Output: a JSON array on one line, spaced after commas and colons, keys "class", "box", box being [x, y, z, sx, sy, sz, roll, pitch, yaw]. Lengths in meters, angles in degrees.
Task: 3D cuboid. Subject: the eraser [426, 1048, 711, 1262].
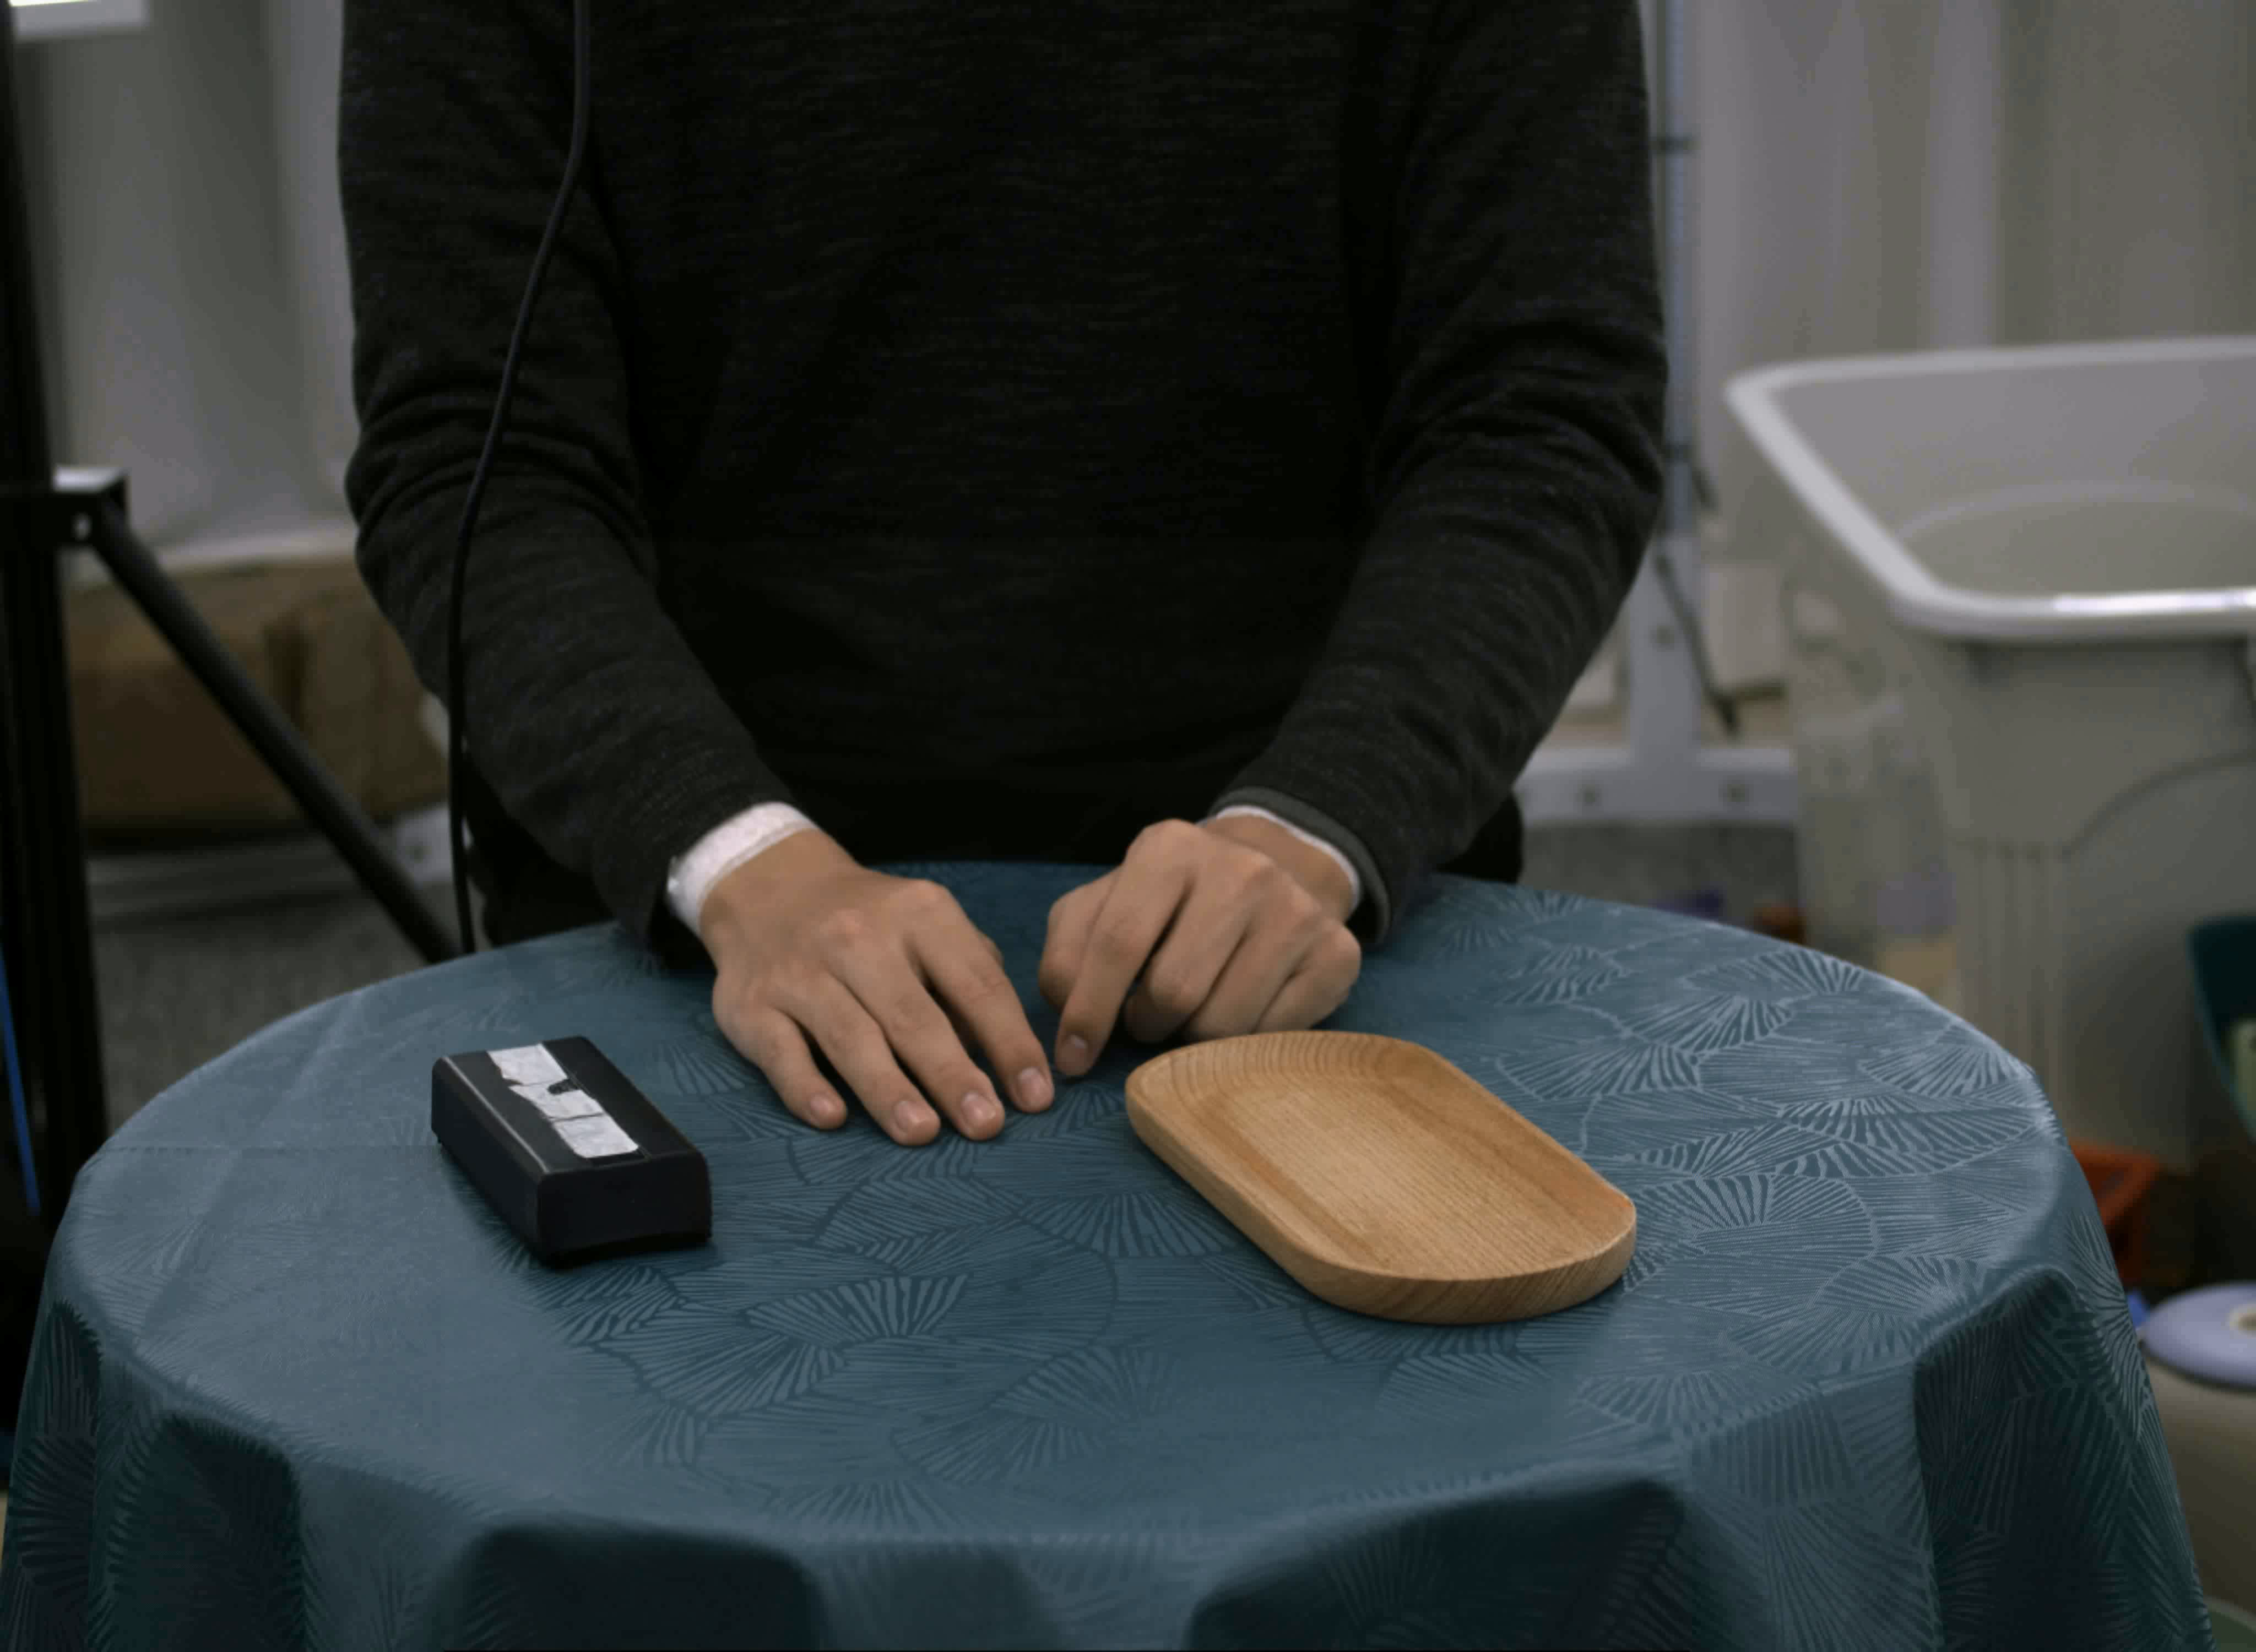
[{"class": "eraser", "box": [-0.166, 0.096, 1.575, 0.052, 0.030, 0.128, -6, 15, -21]}]

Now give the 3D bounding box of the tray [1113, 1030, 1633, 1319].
[{"class": "tray", "box": [0.069, 0.100, 1.546, 0.100, 0.020, 0.235, -6, 15, -18]}]
